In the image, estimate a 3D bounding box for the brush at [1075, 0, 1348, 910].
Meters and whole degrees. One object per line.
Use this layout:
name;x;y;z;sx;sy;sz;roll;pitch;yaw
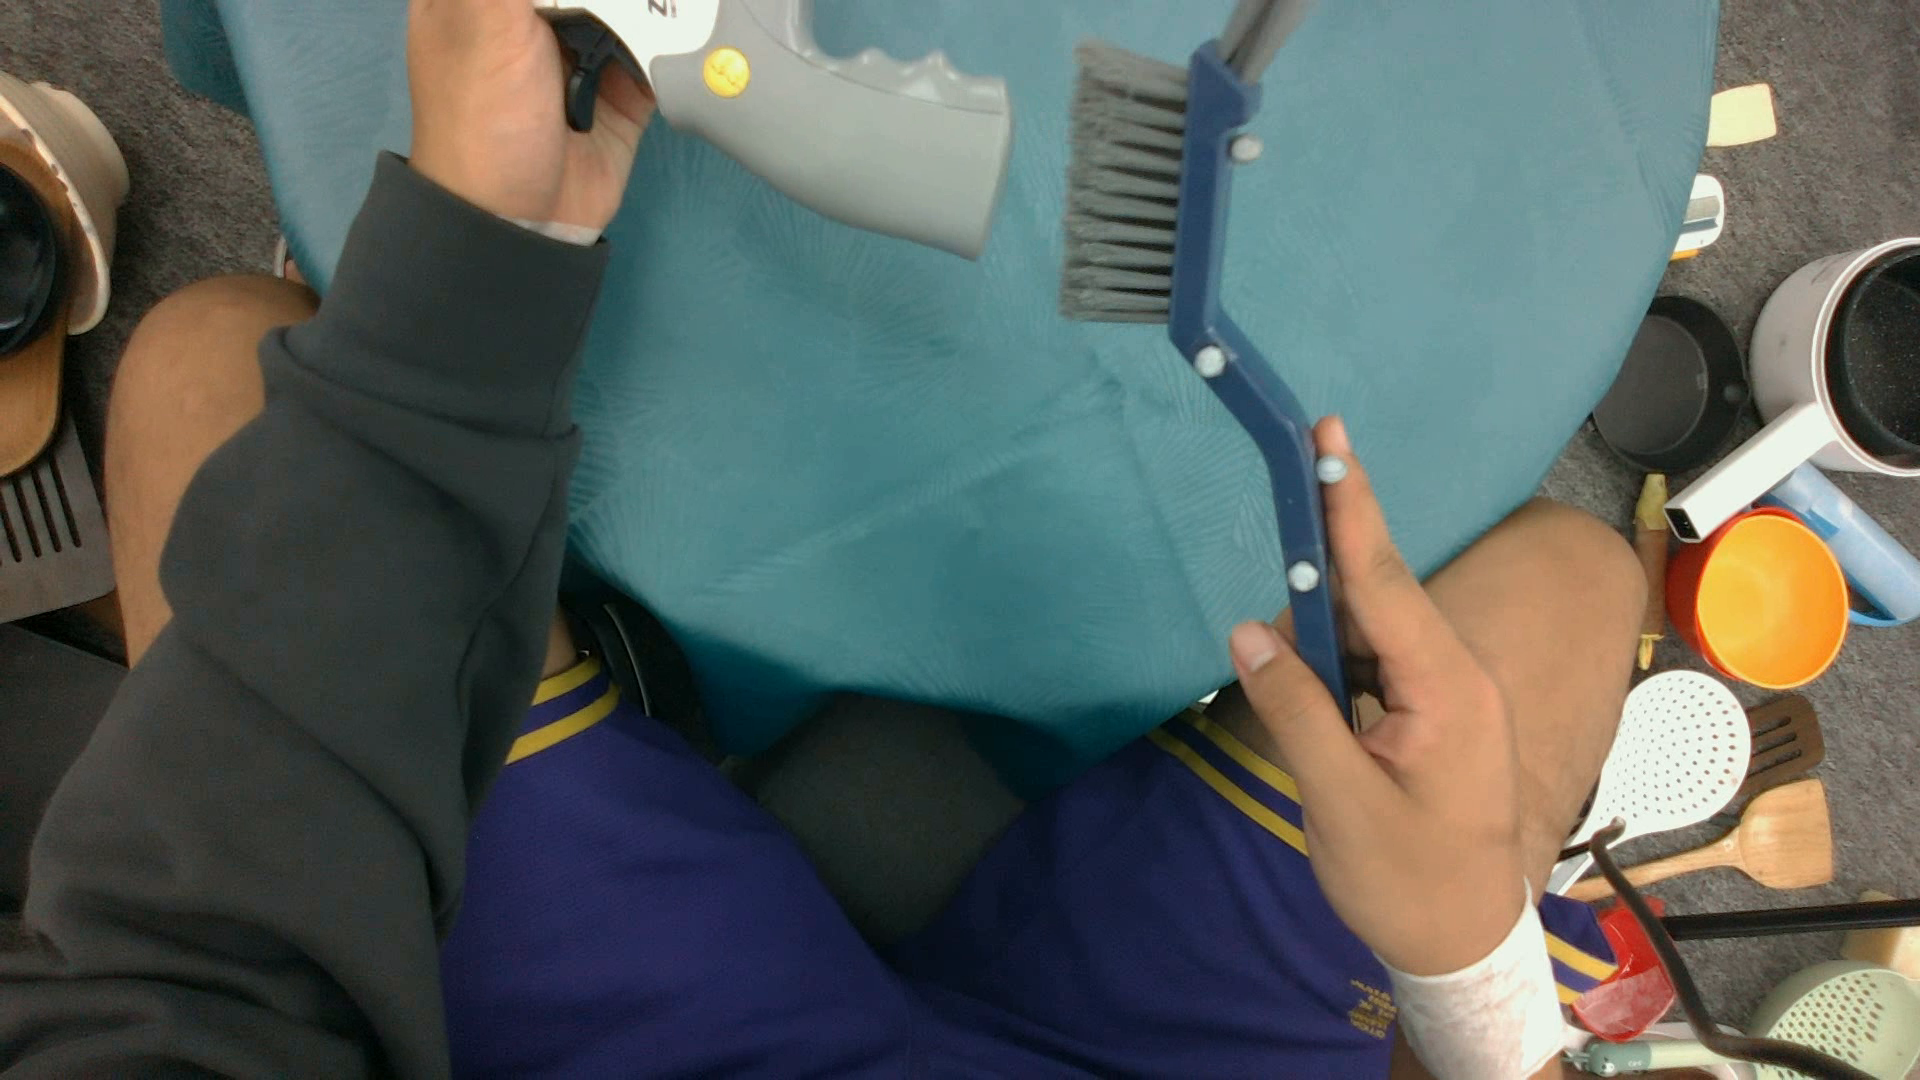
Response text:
brush;0.101;-0.020;0.391;0.095;0.033;0.272;-15;108;18

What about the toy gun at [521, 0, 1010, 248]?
toy gun;-0.059;-0.186;0.388;0.141;0.039;0.208;-1;101;4
